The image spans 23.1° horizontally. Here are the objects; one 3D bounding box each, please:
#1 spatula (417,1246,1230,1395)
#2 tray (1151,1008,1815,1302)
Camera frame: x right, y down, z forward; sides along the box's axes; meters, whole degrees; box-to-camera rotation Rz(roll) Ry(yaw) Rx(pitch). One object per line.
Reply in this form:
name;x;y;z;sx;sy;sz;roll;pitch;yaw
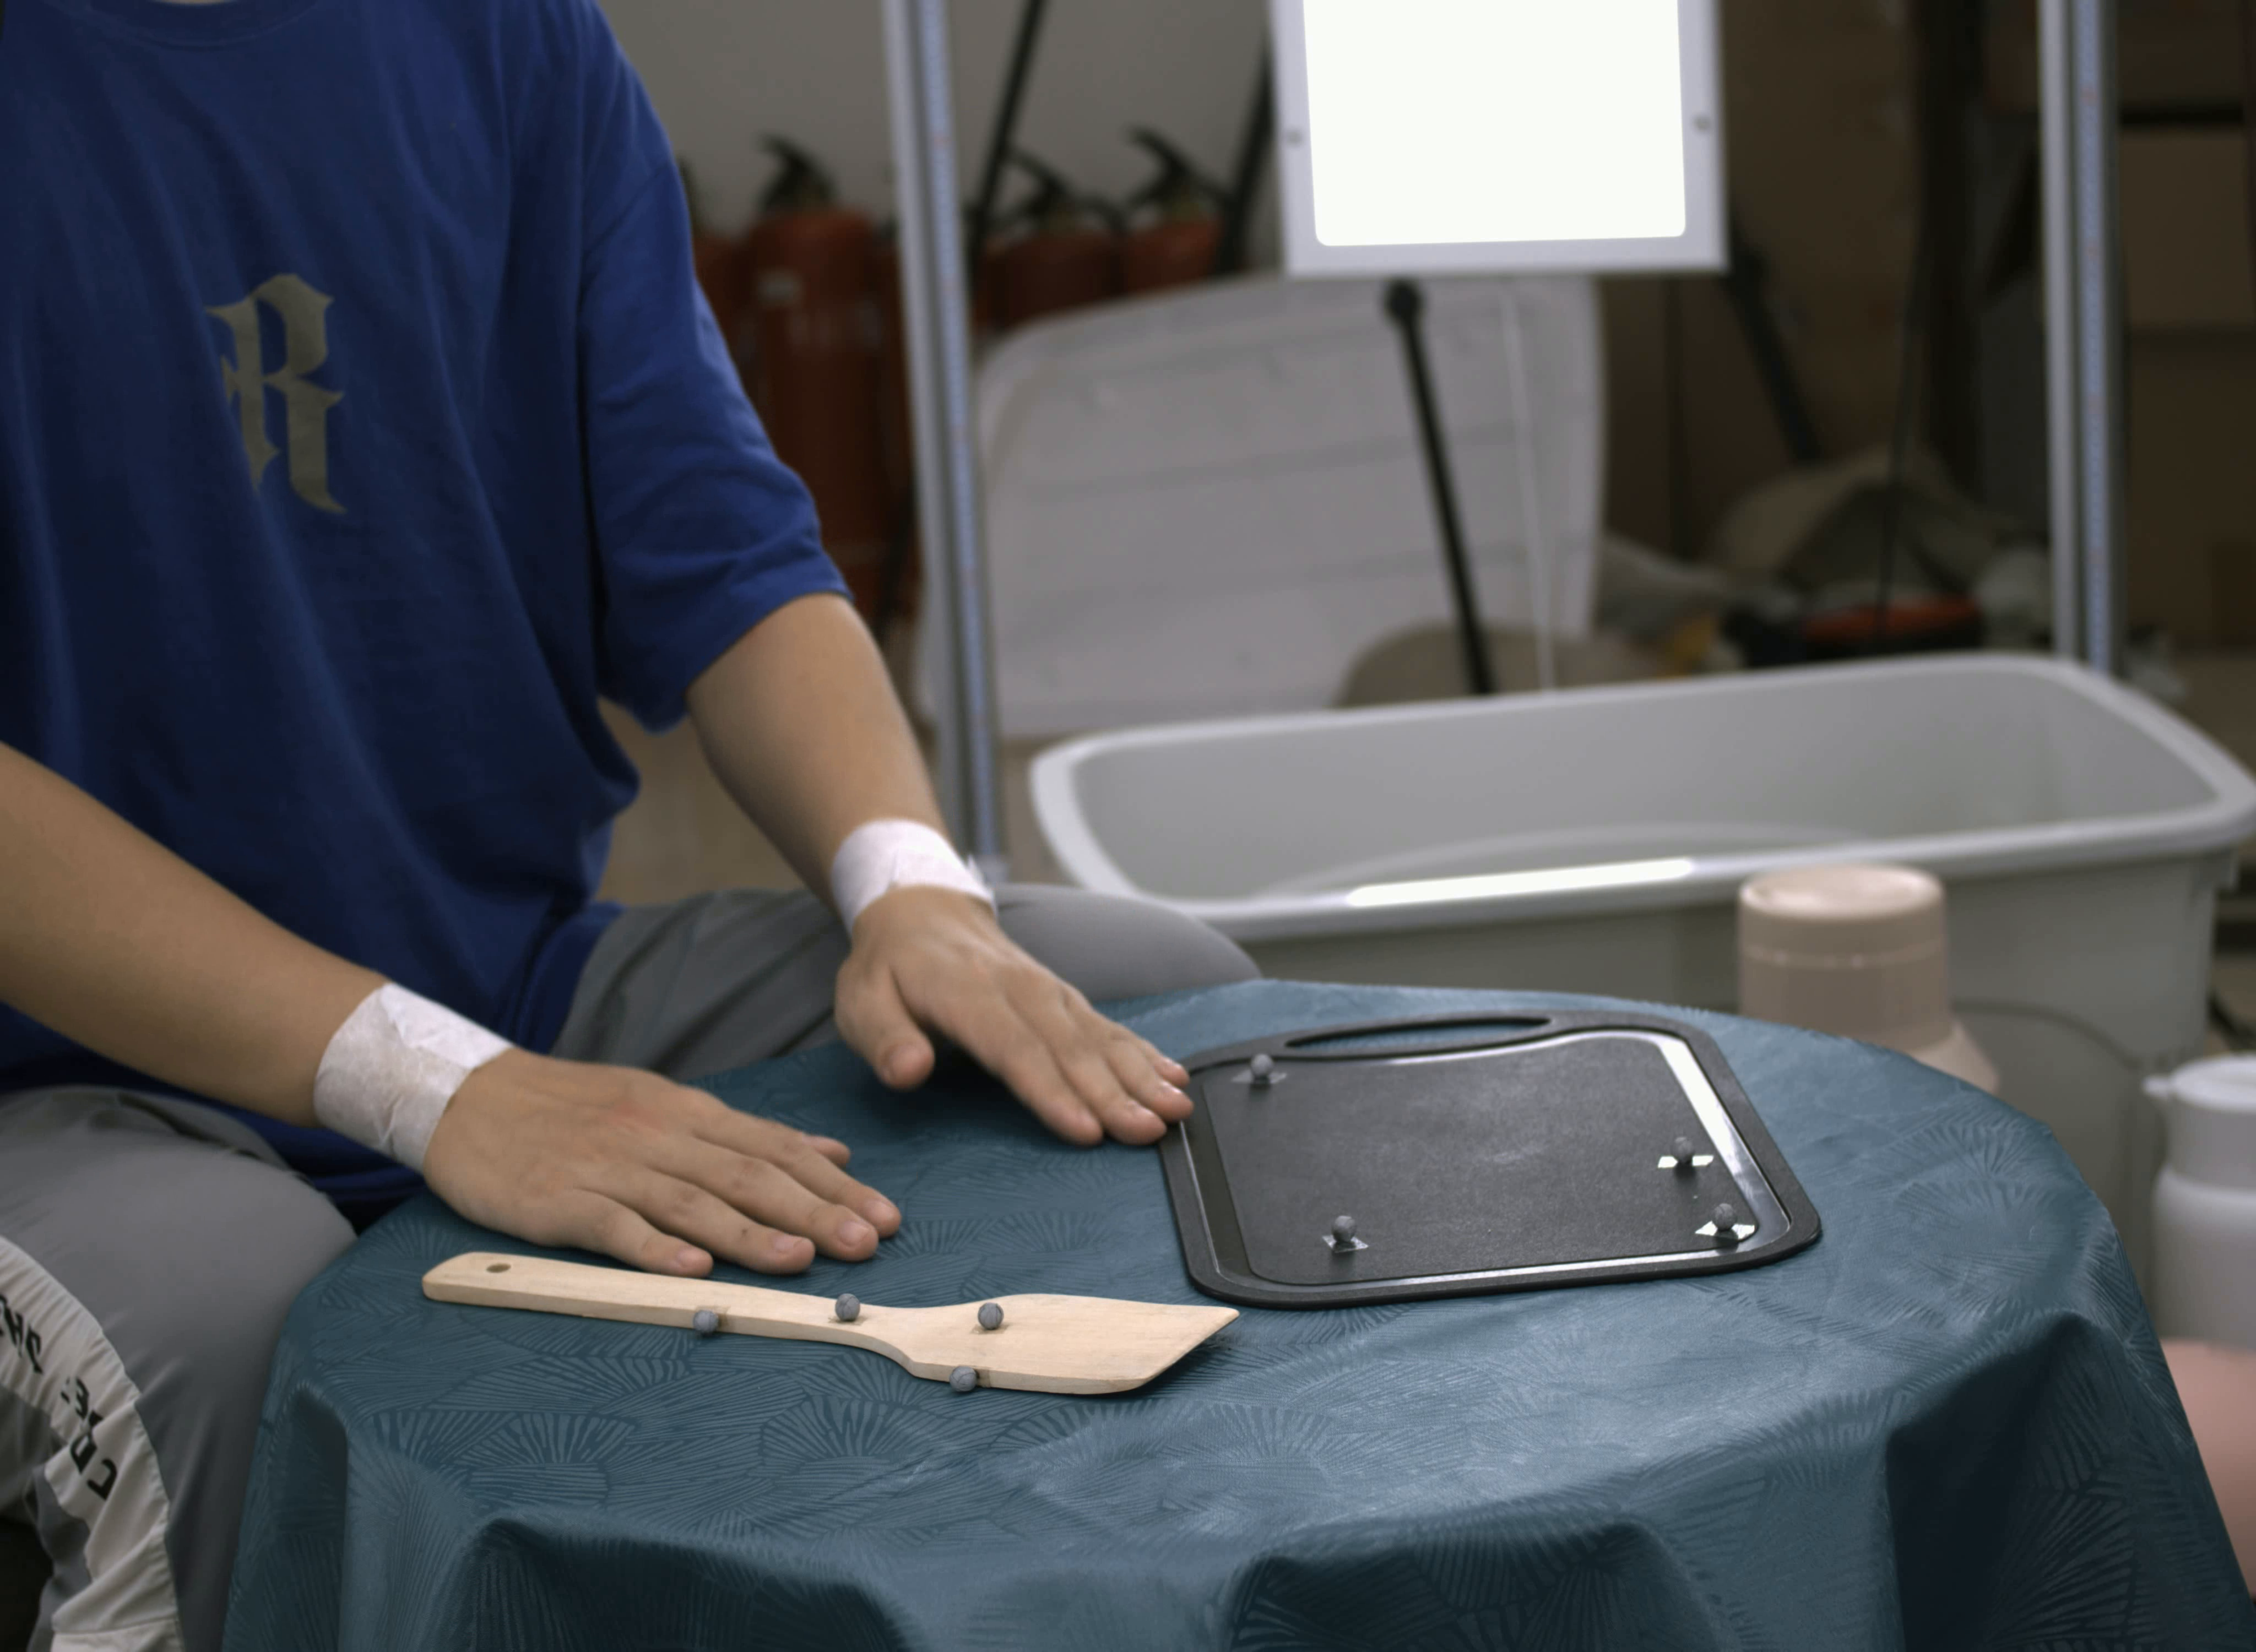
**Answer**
spatula;-0.109;0.157;1.790;0.298;0.011;0.070;3;18;31
tray;0.116;0.108;1.914;0.210;0.010;0.325;-5;14;-1
